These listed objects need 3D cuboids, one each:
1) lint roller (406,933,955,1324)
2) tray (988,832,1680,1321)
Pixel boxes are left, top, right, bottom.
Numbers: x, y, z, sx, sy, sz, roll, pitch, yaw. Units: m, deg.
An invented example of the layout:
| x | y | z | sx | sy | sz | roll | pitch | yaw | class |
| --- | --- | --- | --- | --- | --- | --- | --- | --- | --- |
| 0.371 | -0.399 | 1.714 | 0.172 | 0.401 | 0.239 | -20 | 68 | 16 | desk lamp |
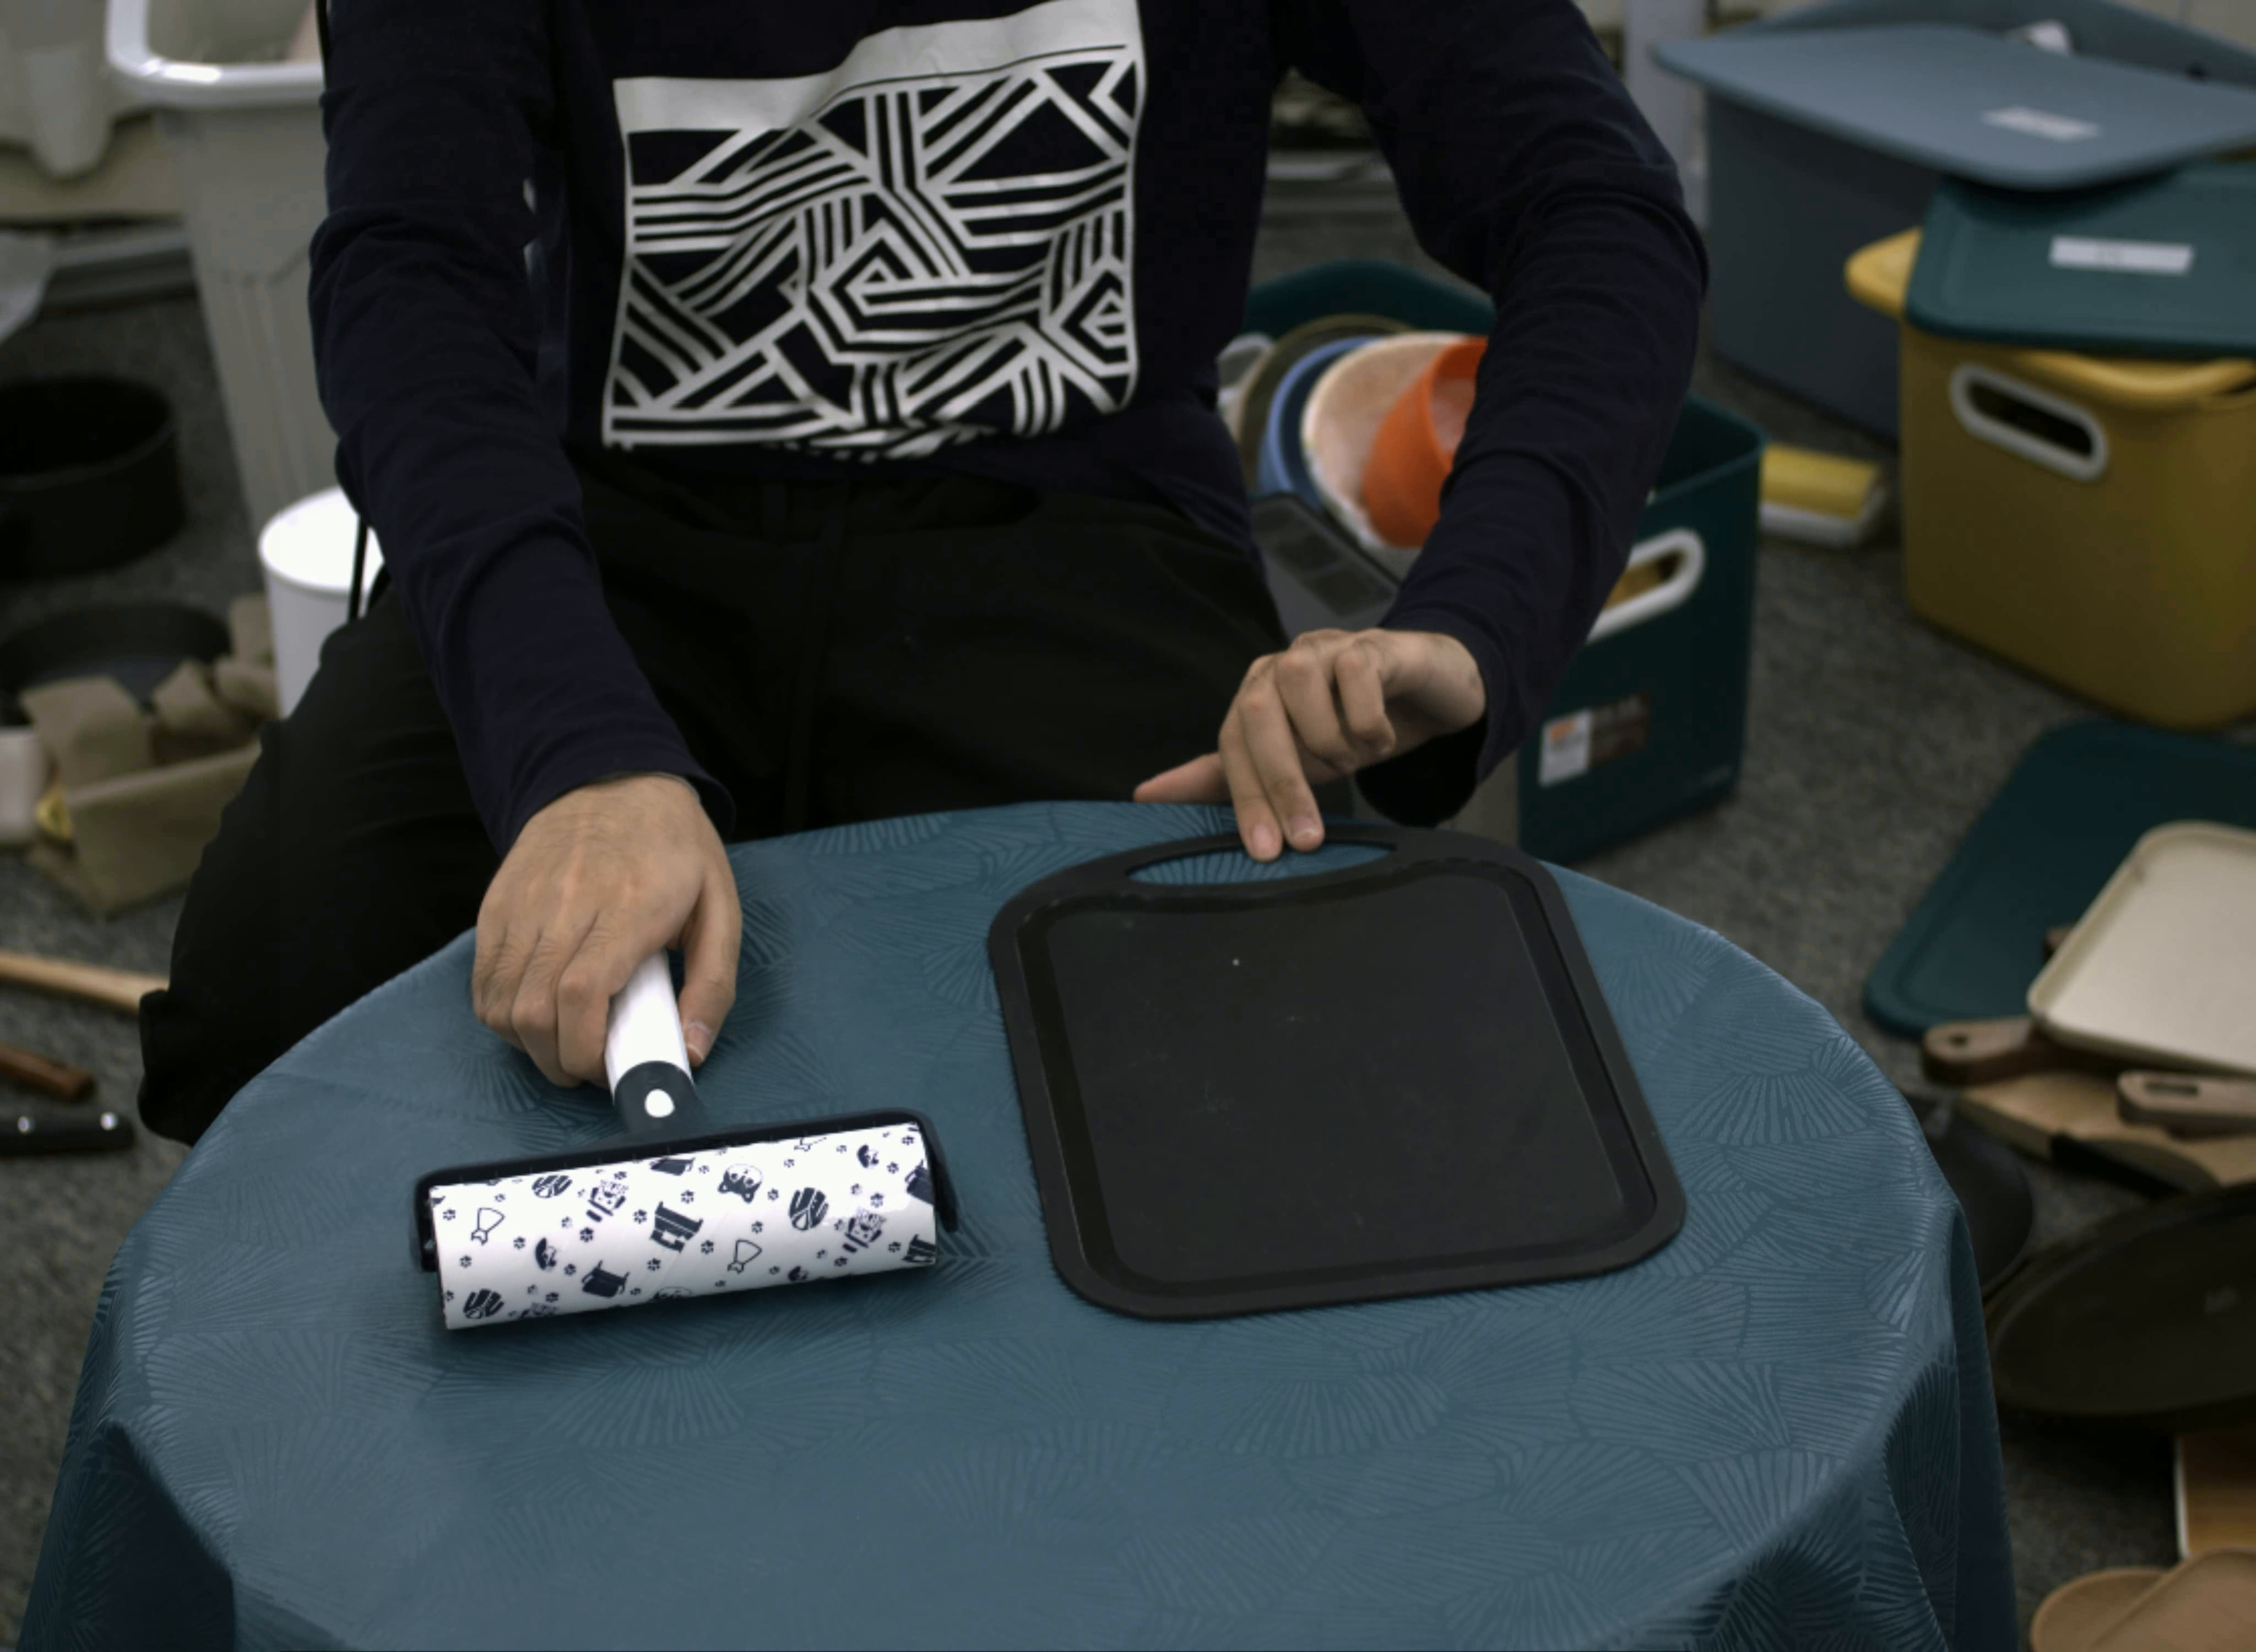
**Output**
| x | y | z | sx | sy | sz | roll | pitch | yaw | class |
| --- | --- | --- | --- | --- | --- | --- | --- | --- | --- |
| -0.163 | 0.088 | 1.900 | 0.176 | 0.050 | 0.249 | -8 | 25 | -8 | lint roller |
| 0.063 | 0.077 | 1.935 | 0.210 | 0.009 | 0.330 | -5 | 27 | -5 | tray |
